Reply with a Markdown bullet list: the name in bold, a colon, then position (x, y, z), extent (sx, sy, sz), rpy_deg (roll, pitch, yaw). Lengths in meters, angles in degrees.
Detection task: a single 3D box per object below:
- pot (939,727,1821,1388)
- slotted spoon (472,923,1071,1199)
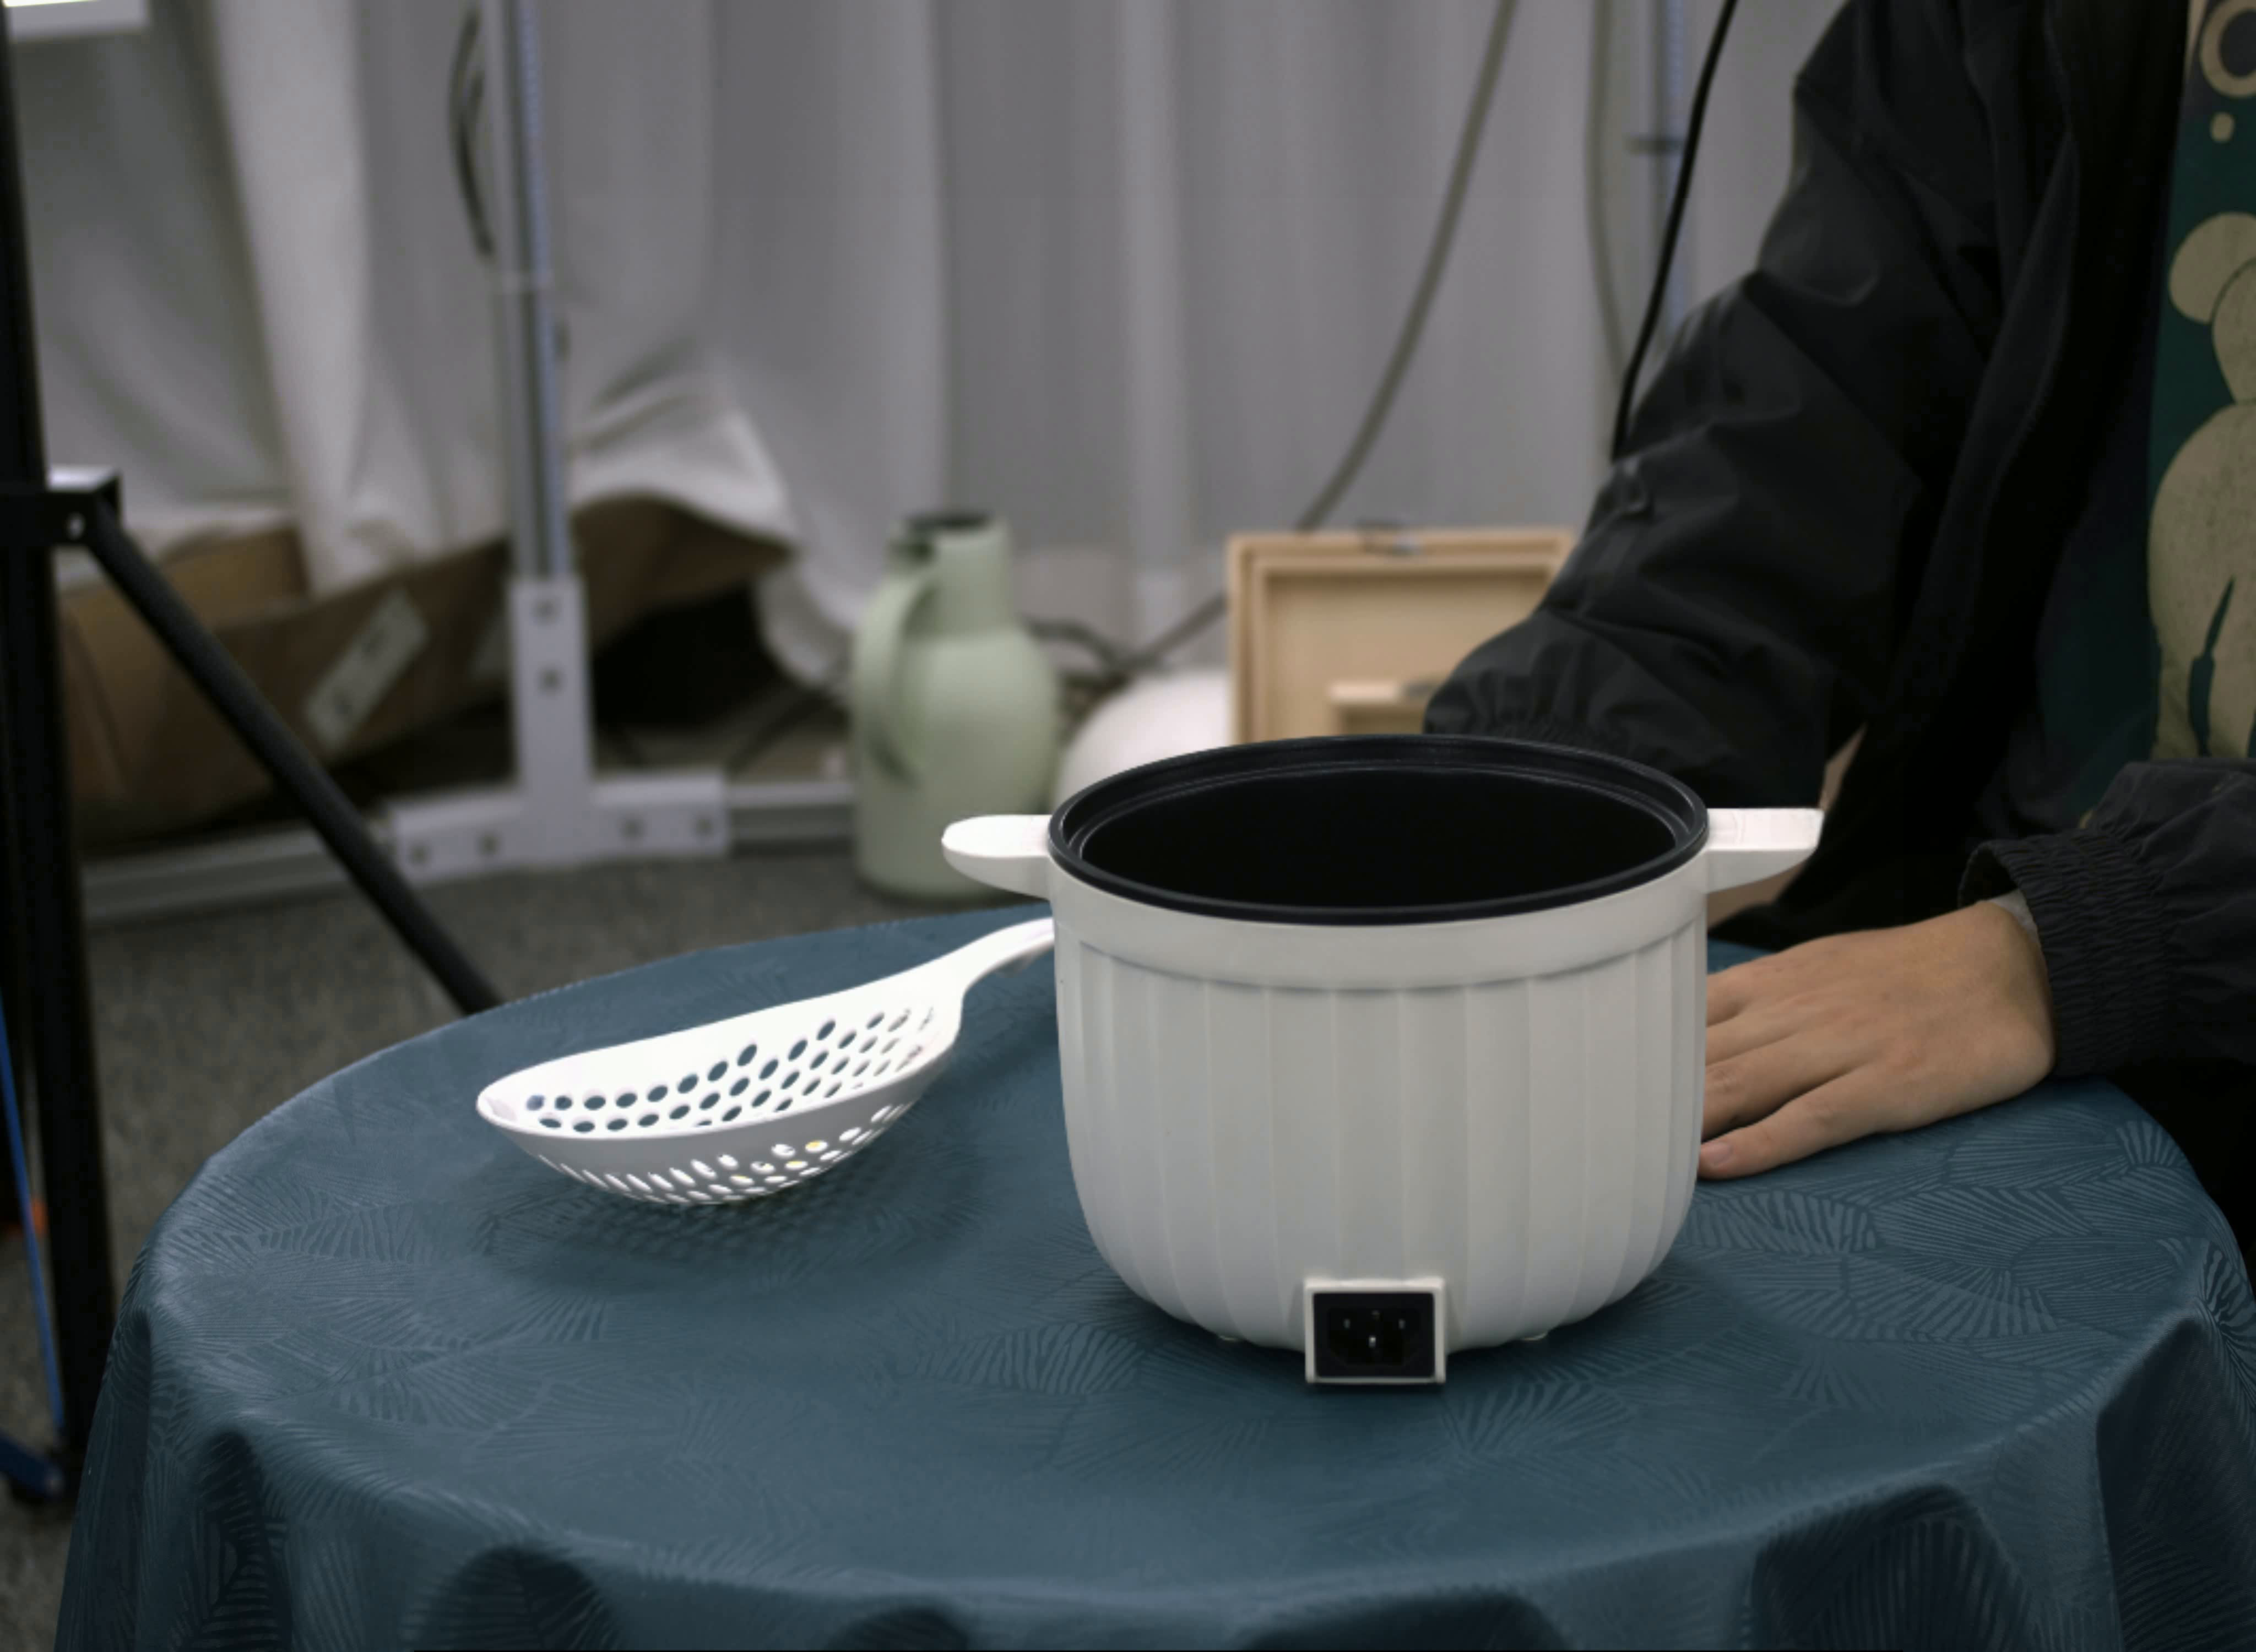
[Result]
- **pot**: position (0.069, 0.060, 1.466), extent (0.240, 0.142, 0.190), rpy_deg (1, 18, 5)
- **slotted spoon**: position (-0.068, 0.060, 1.659), extent (0.139, 0.050, 0.342), rpy_deg (-2, 14, 31)
